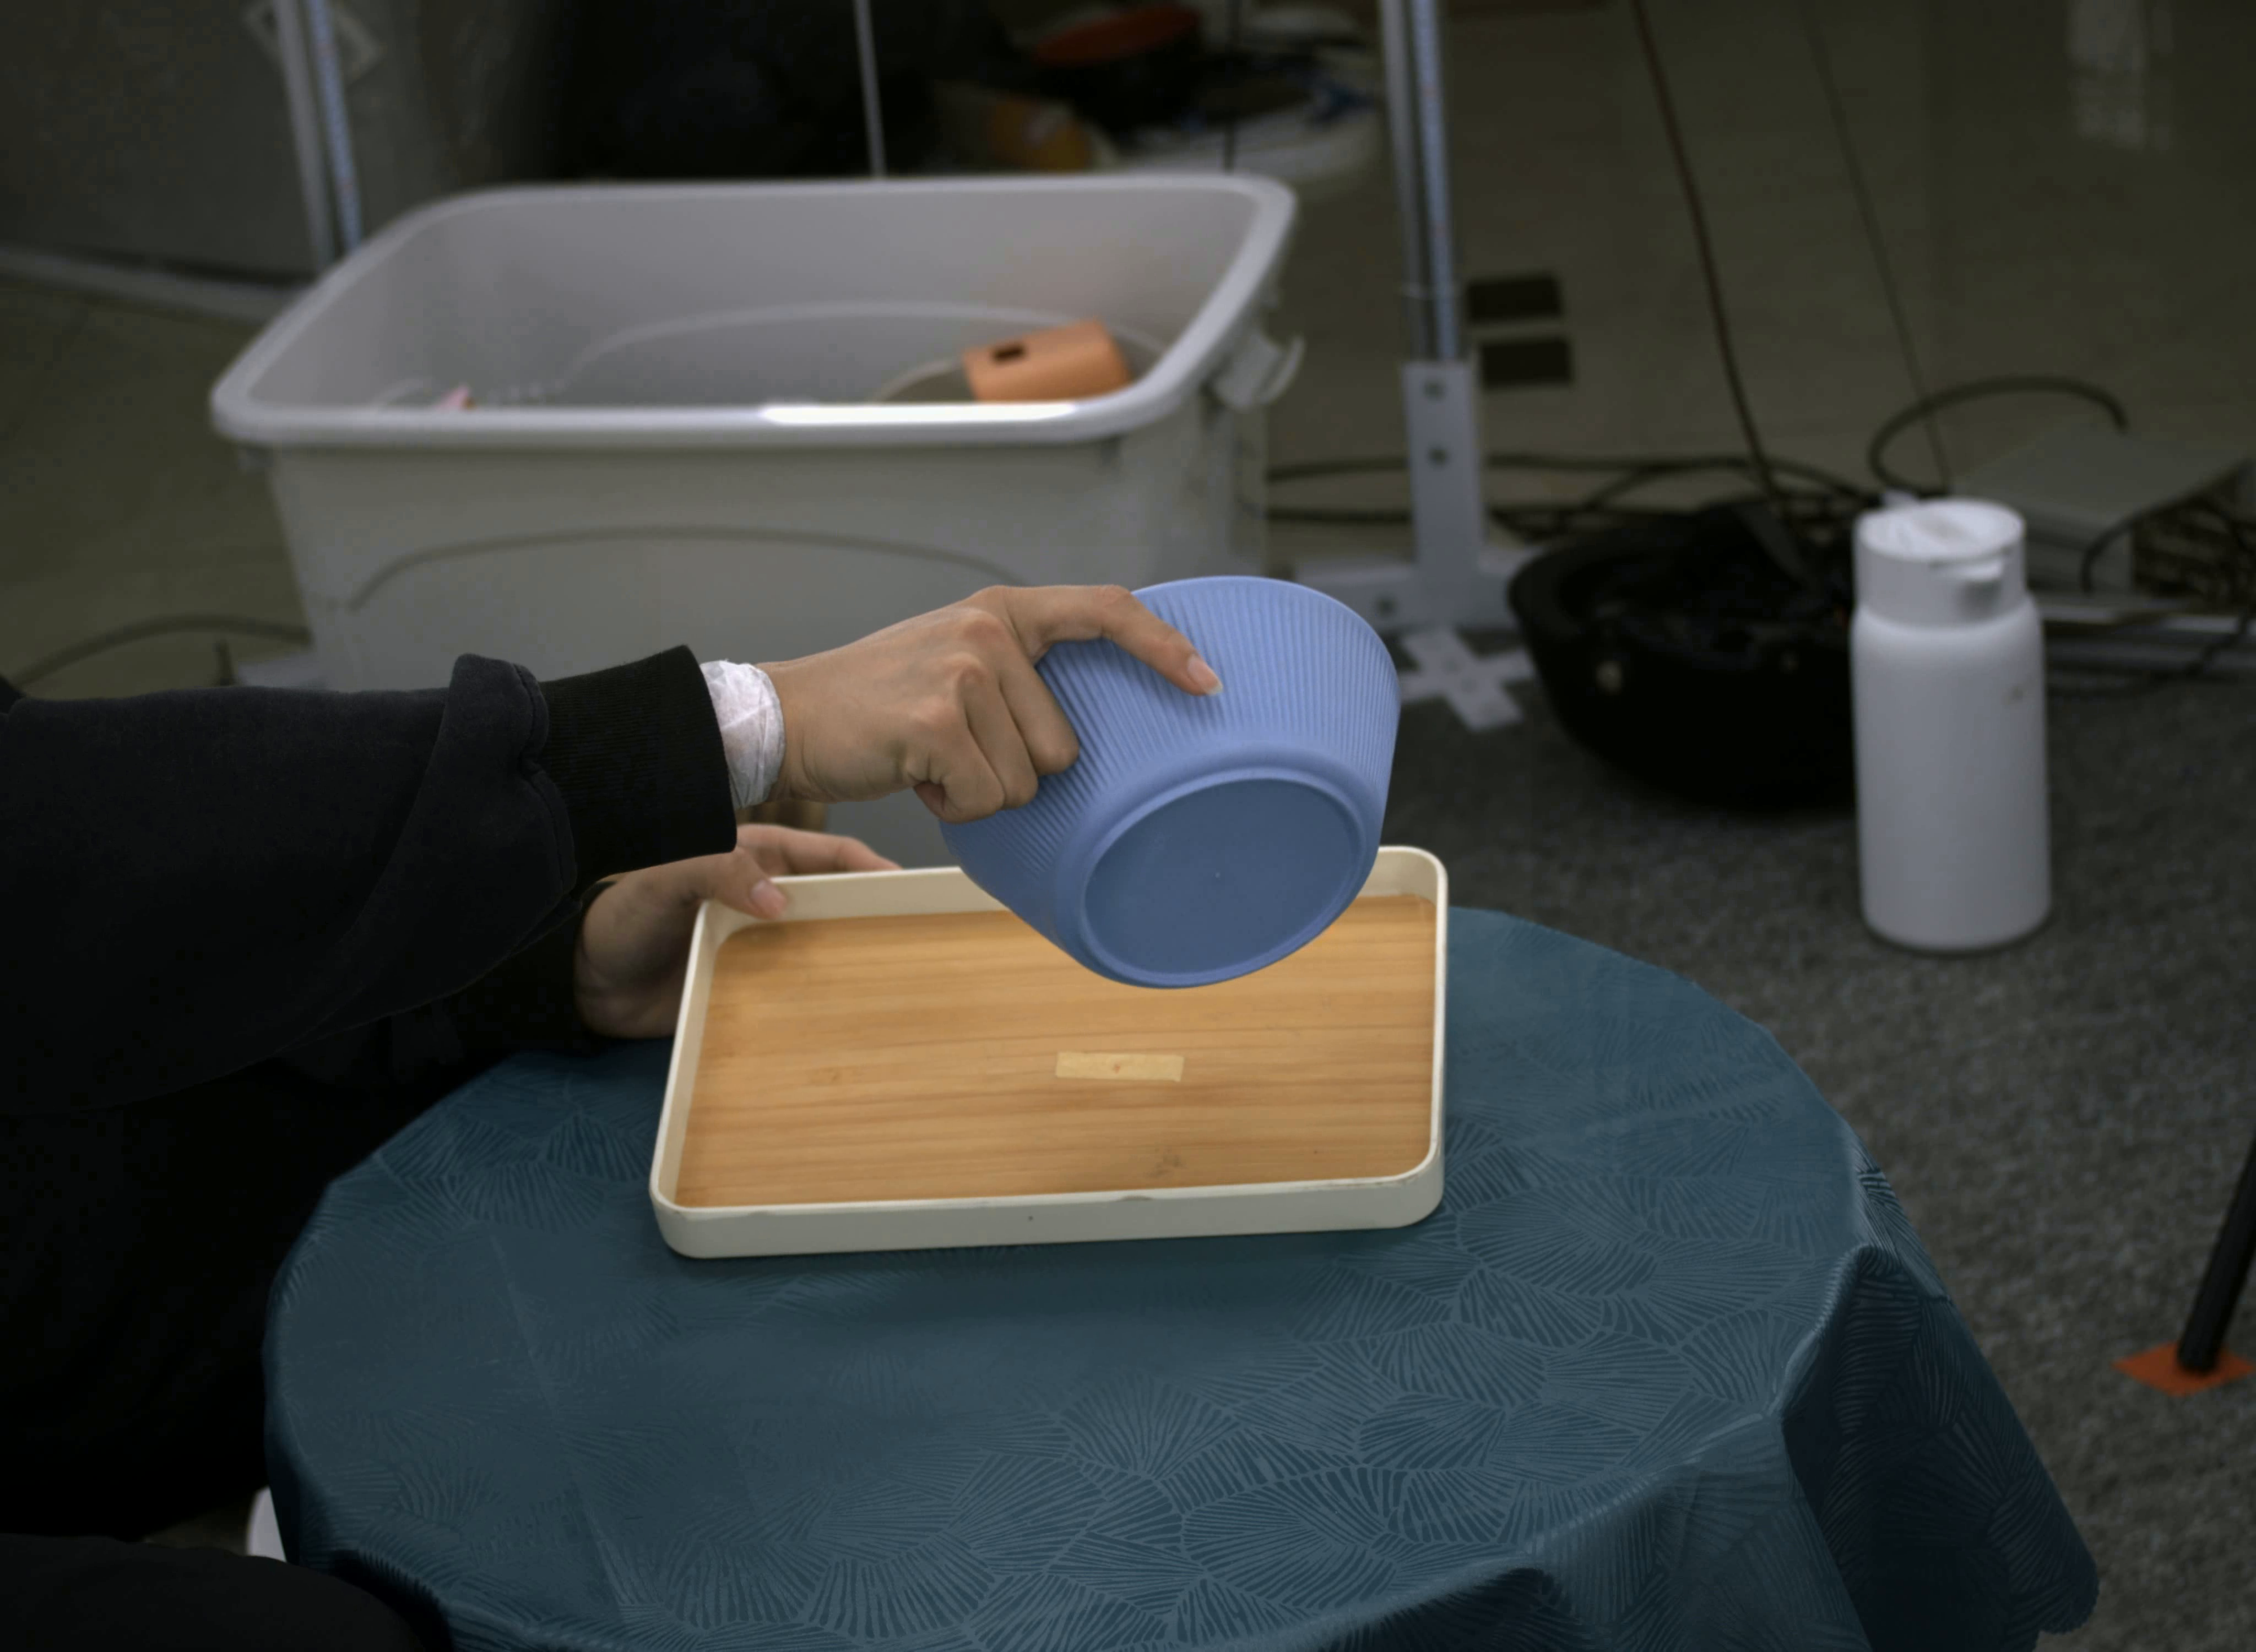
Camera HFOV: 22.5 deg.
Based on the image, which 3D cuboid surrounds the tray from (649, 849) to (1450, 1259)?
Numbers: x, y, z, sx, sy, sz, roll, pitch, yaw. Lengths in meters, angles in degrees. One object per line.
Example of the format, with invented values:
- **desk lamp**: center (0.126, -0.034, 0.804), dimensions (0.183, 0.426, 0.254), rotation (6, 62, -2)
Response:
- **tray**: center (-0.027, 0.087, 2.182), dimensions (0.300, 0.028, 0.188), rotation (-3, 42, 7)

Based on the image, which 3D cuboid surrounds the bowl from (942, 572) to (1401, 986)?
- **bowl**: center (0.025, -0.005, 2.036), dimensions (0.175, 0.179, 0.069), rotation (-12, 49, -12)
